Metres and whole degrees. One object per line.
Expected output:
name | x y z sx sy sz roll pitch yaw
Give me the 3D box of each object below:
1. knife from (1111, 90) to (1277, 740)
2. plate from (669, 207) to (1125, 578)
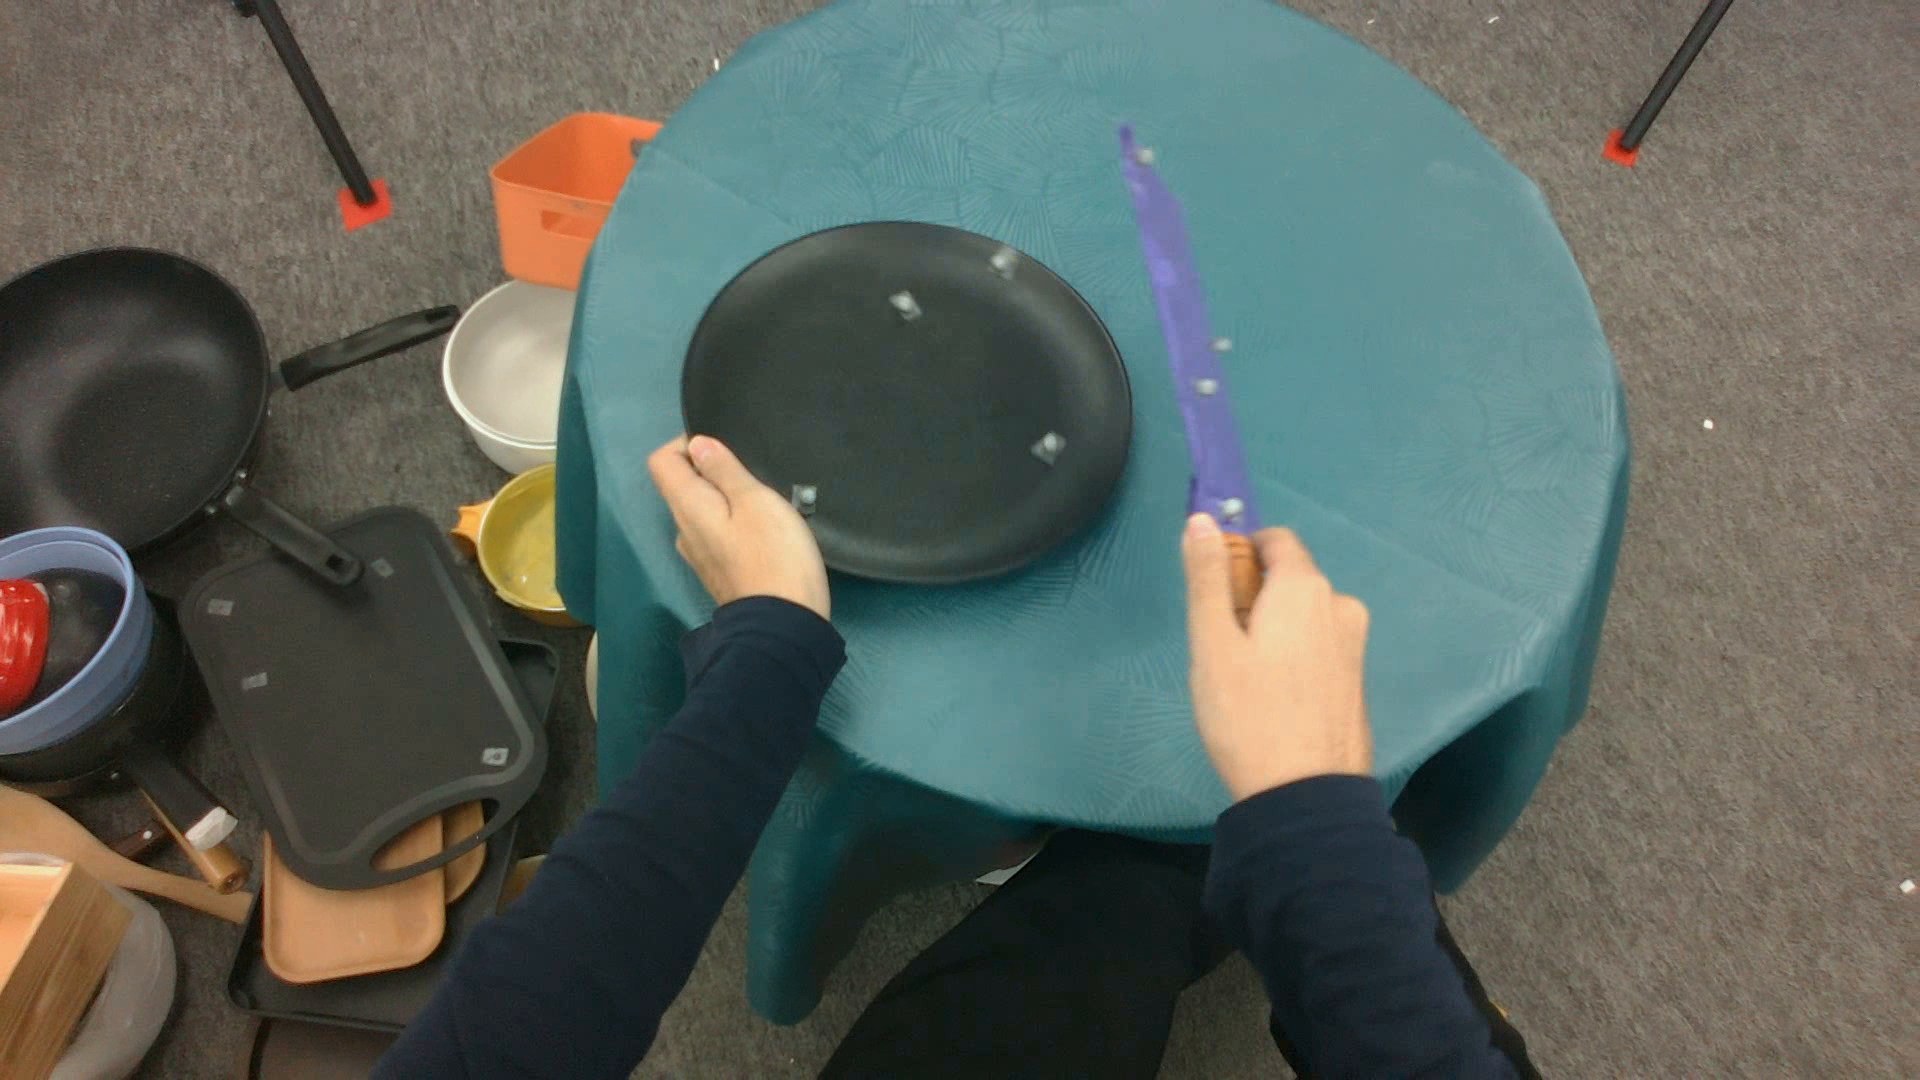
knife | 0.115 -0.059 0.643 0.032 0.104 0.316 -16 67 25
plate | -0.032 -0.082 0.742 0.244 0.023 0.245 4 59 -7
